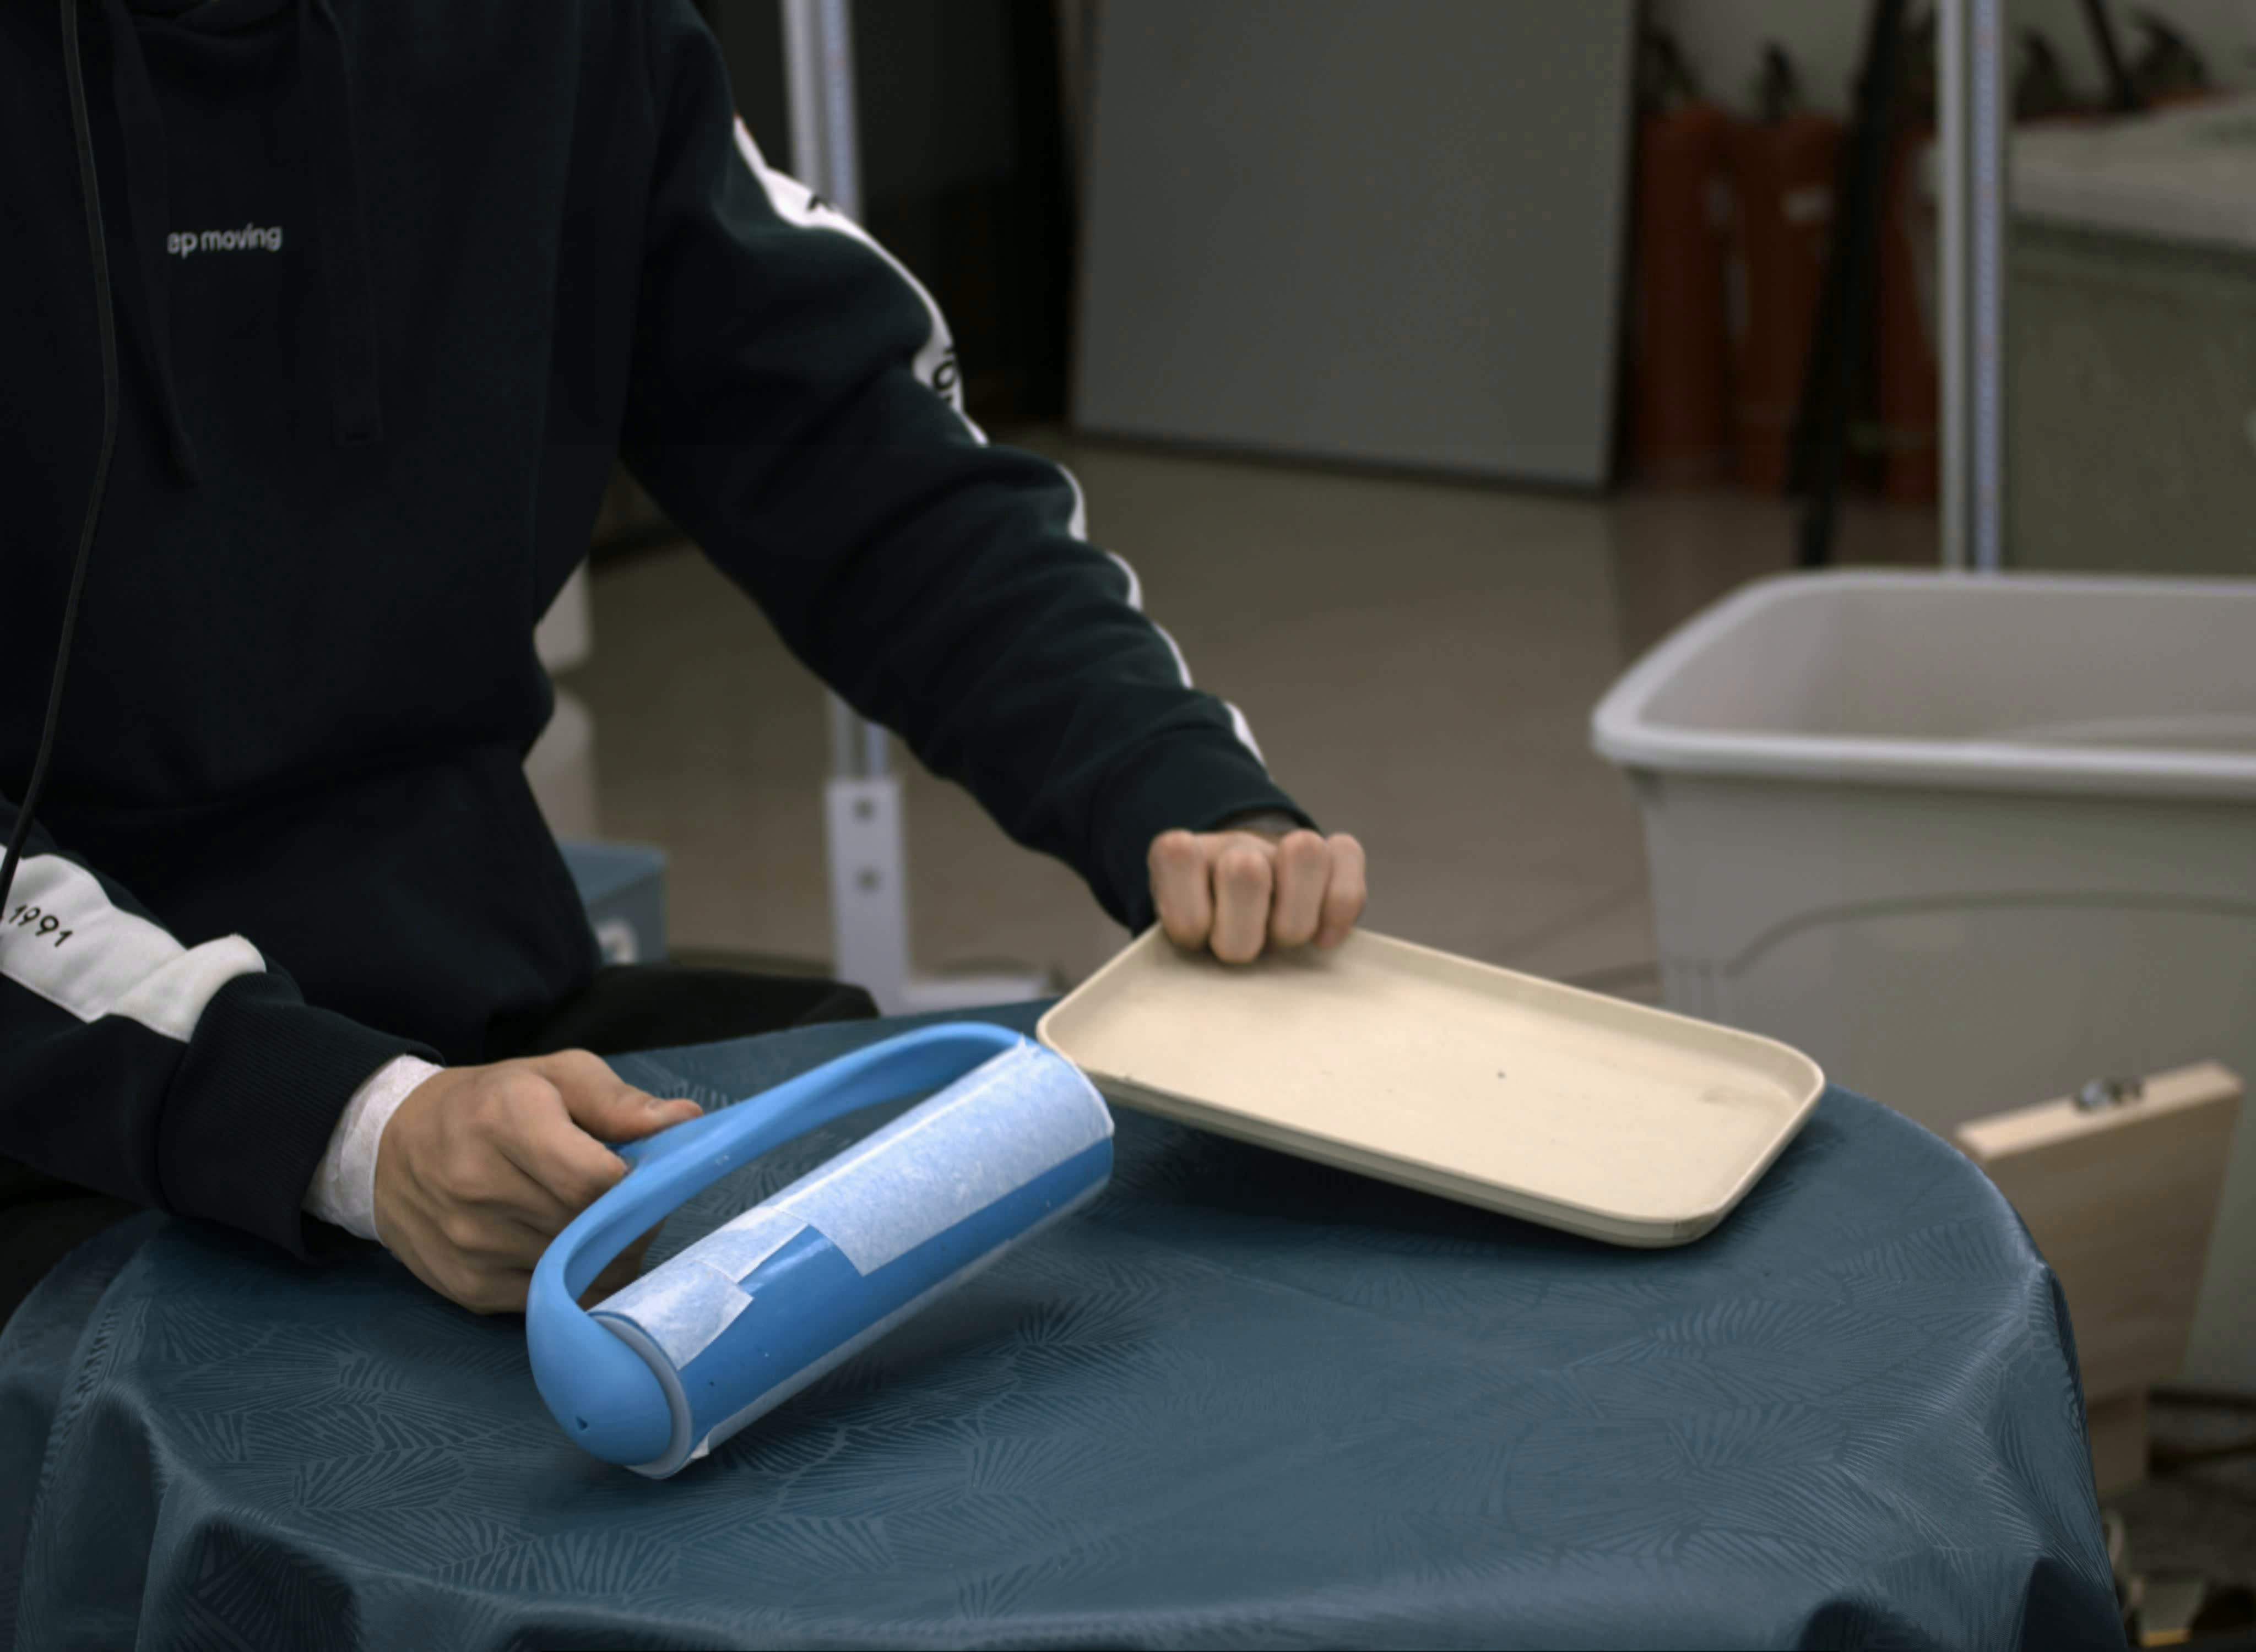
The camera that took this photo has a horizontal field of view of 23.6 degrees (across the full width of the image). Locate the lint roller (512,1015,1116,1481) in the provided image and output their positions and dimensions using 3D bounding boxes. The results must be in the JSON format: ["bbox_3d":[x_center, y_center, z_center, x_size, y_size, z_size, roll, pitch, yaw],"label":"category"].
[{"bbox_3d":[-0.128,0.122,1.638,0.181,0.068,0.225,3,26,39],"label":"lint roller"}]

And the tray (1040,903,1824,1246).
[{"bbox_3d":[0.101,0.081,1.770,0.239,0.018,0.169,14,21,20],"label":"tray"}]
